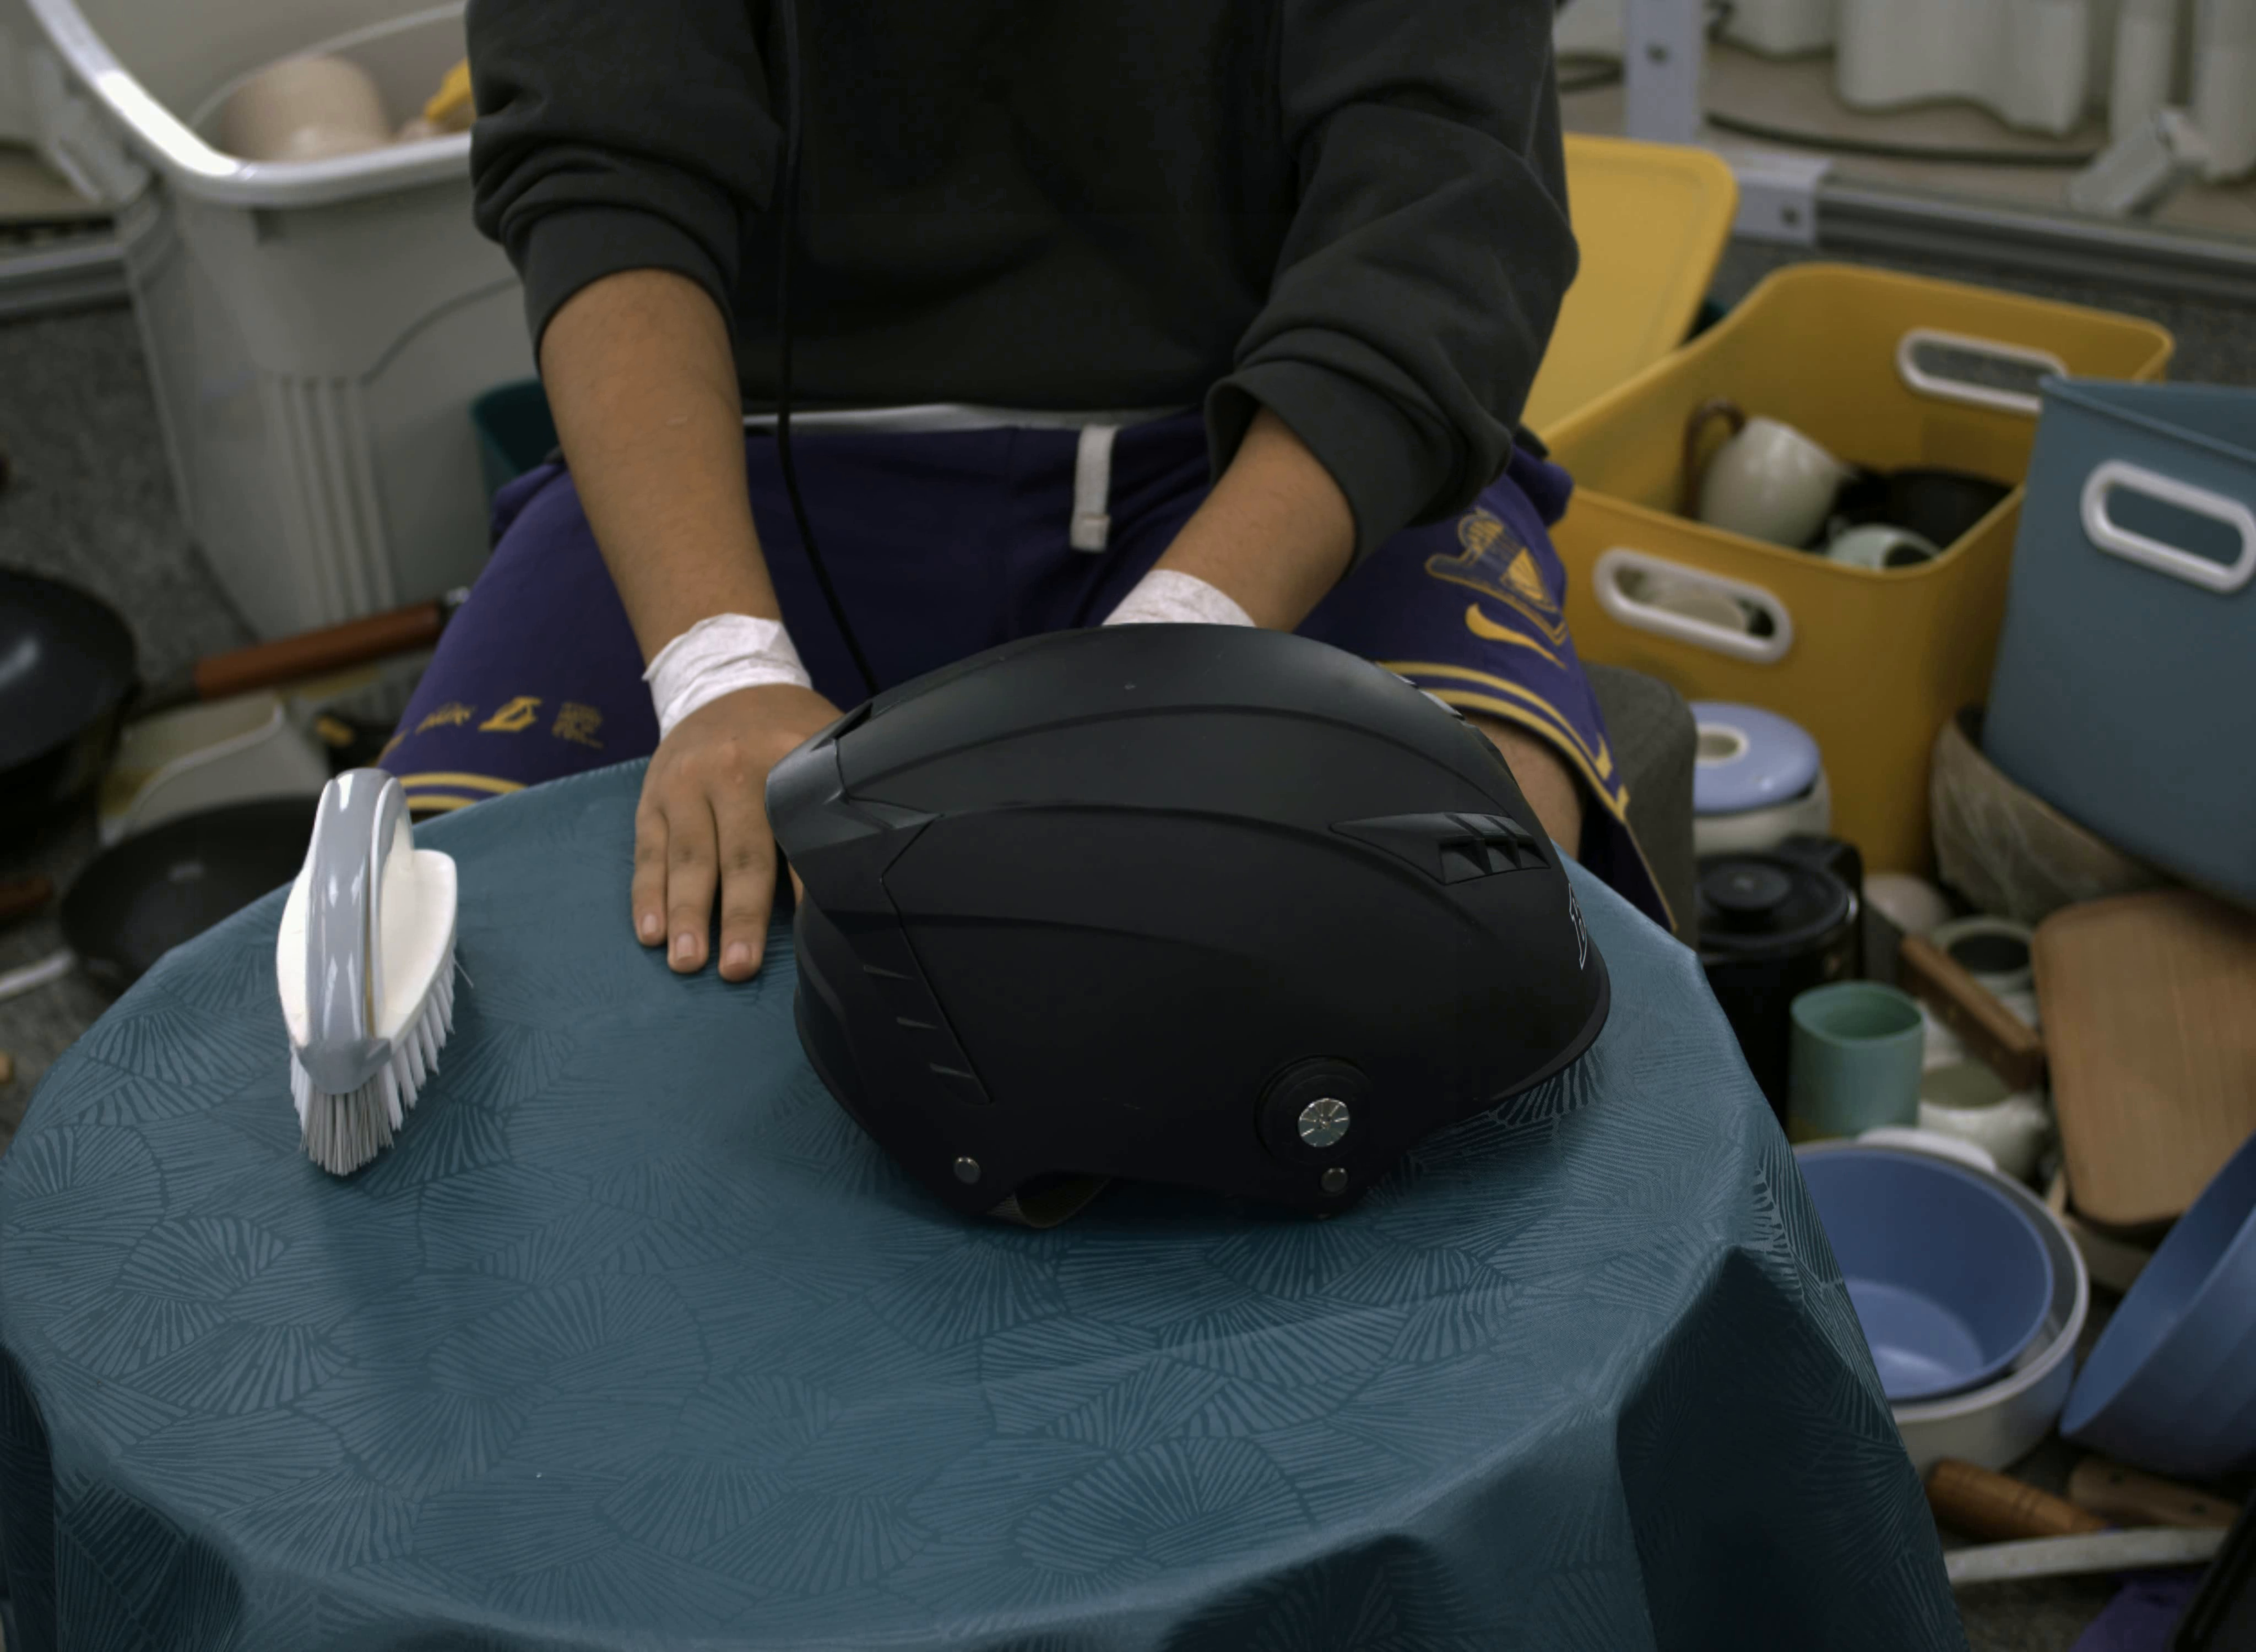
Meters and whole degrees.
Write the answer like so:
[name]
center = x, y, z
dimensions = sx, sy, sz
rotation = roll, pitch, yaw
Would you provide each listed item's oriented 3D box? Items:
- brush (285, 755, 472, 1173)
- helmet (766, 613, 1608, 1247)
[brush]
center = -0.265, 0.040, 1.948
dimensions = 0.061, 0.093, 0.178
rotation = -4, 29, 1
[helmet]
center = 0.019, 0.016, 1.894
dimensions = 0.275, 0.170, 0.250
rotation = -8, 28, -1
